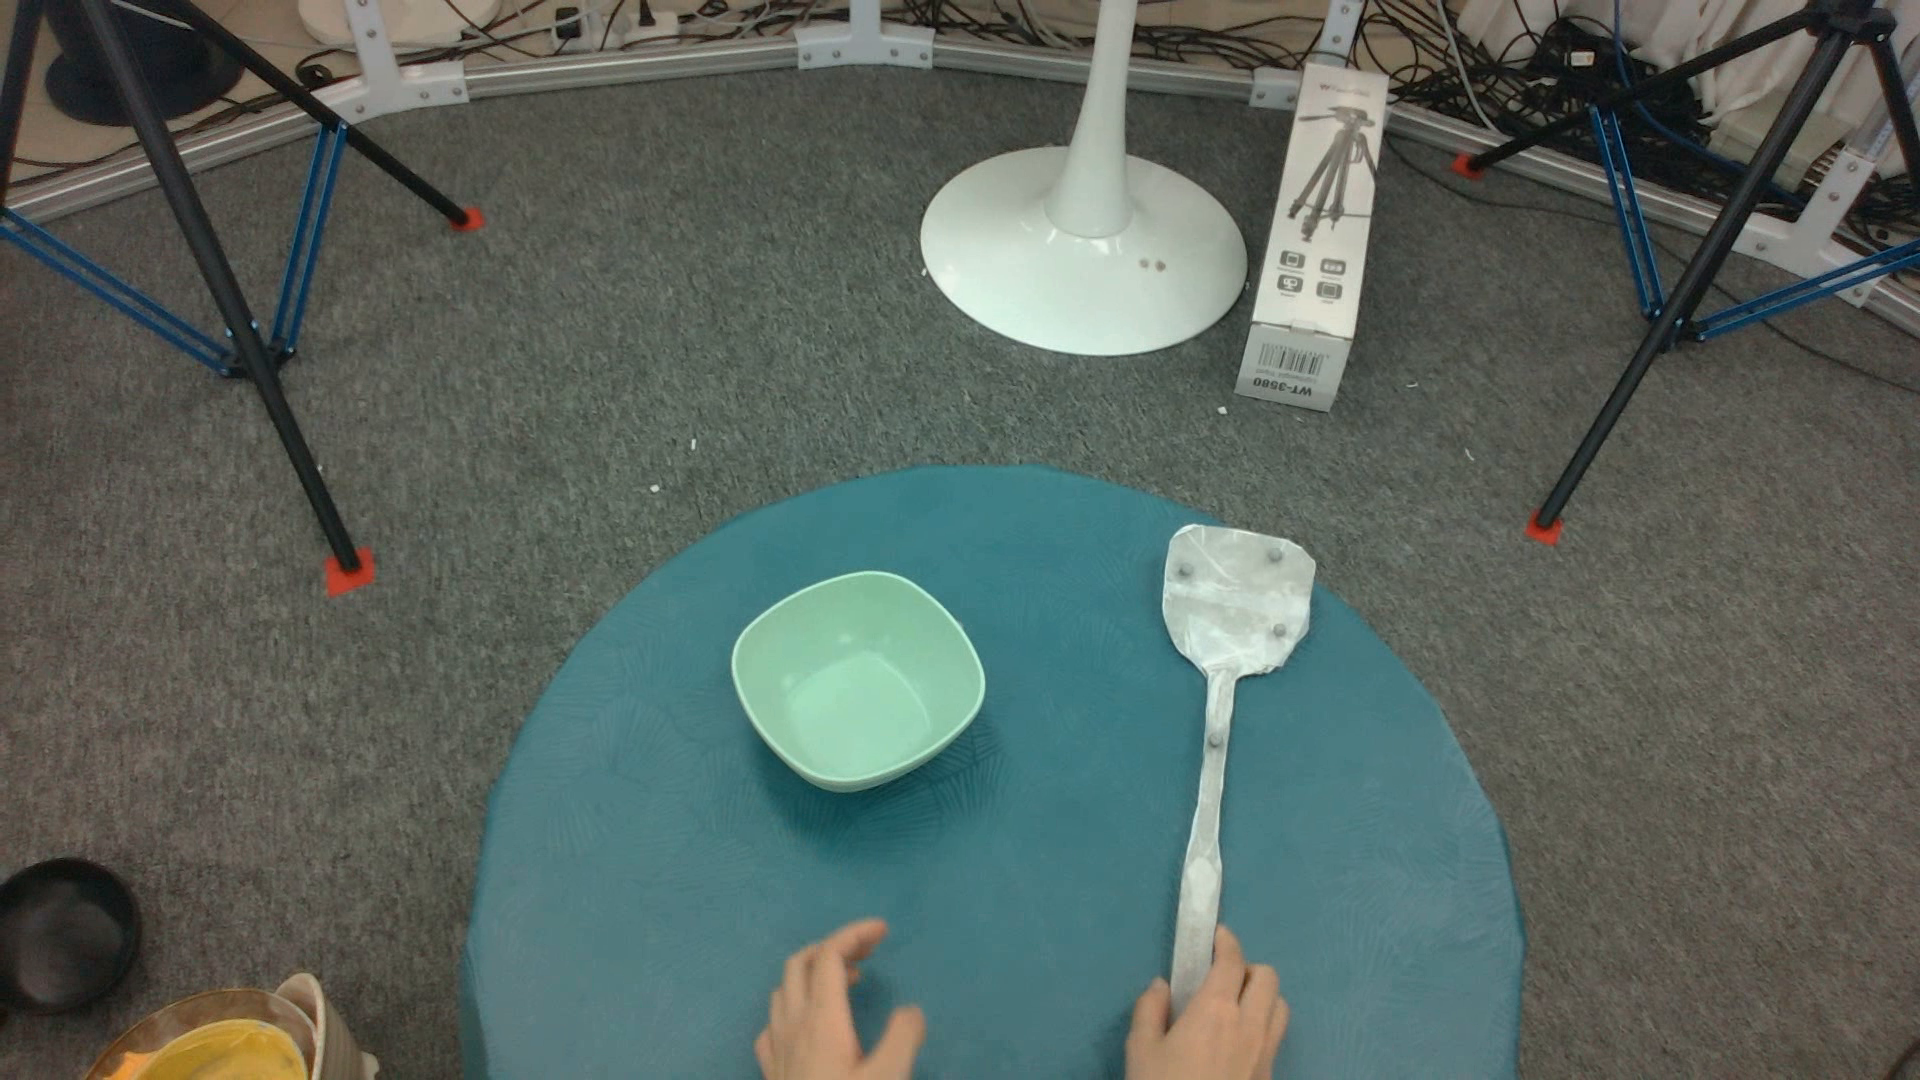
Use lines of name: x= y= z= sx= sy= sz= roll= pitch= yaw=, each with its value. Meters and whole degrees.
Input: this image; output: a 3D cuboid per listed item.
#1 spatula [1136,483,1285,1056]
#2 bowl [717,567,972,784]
spatula: x=0.156 y=0.120 z=0.834 sx=0.098 sy=0.044 sz=0.366 roll=-4 pitch=52 yaw=12
bowl: x=-0.070 y=0.090 z=0.827 sx=0.151 sy=0.058 sz=0.152 roll=3 pitch=47 yaw=-3
